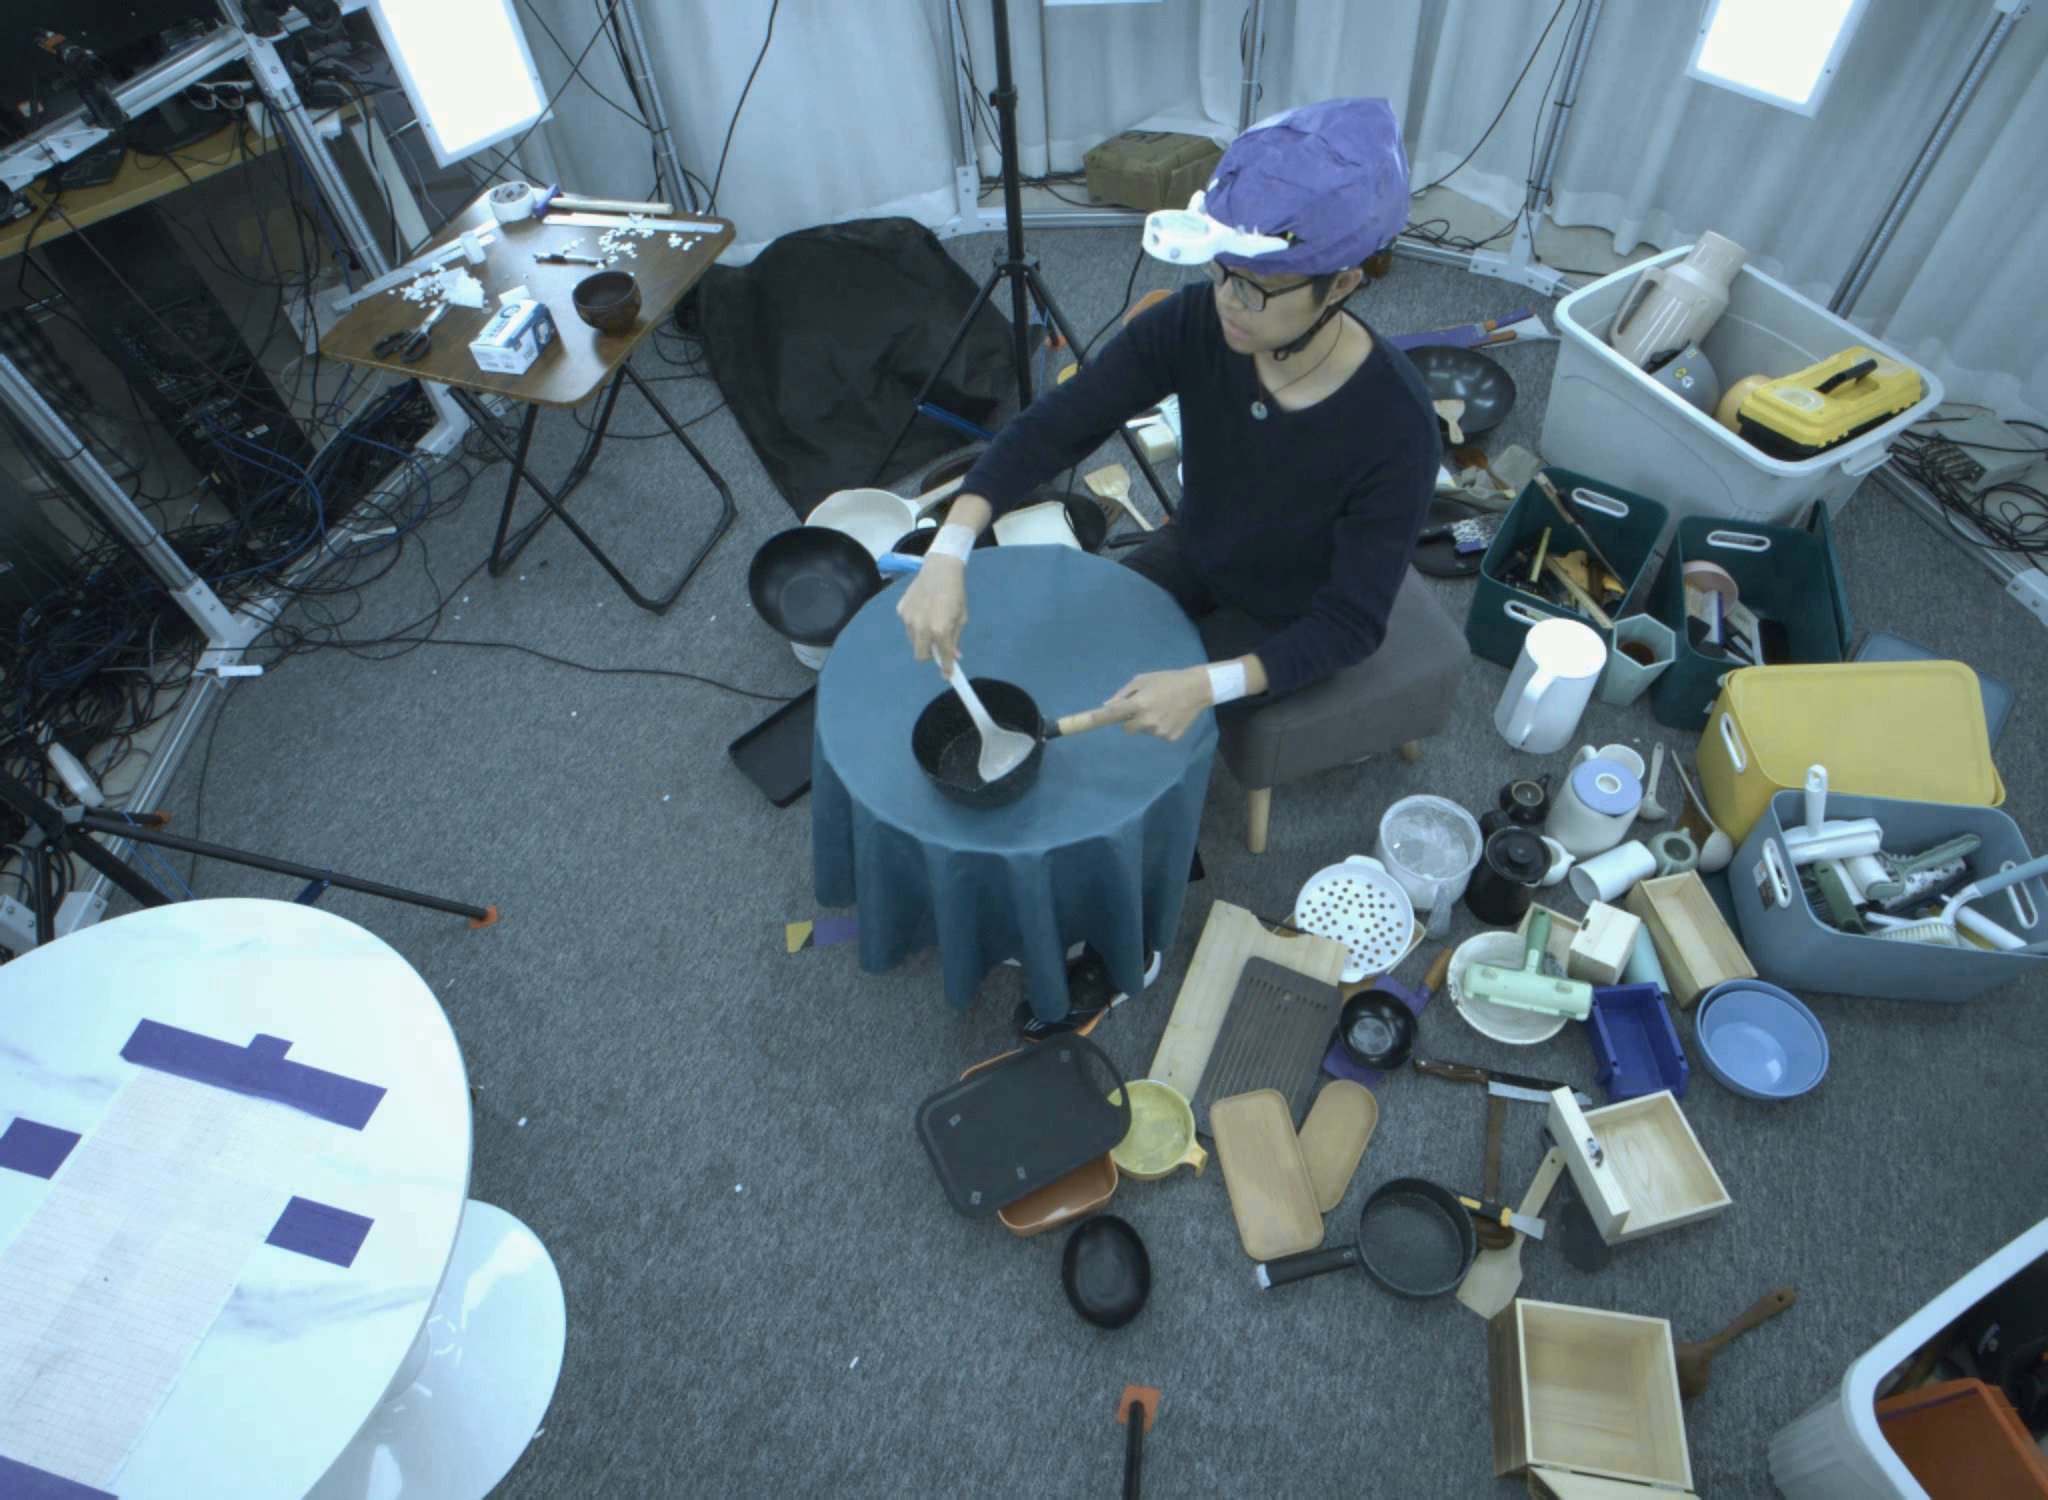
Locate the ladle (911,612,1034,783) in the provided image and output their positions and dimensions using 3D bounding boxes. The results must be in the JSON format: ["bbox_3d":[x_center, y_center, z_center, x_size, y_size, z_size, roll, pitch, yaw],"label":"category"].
[{"bbox_3d":[-0.075,-0.066,1.667,0.089,0.279,0.068,-32,27,-3],"label":"ladle"}]

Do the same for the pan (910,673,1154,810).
[{"bbox_3d":[0.016,-0.019,1.710,0.341,0.110,0.205,-8,53,8],"label":"pan"}]
